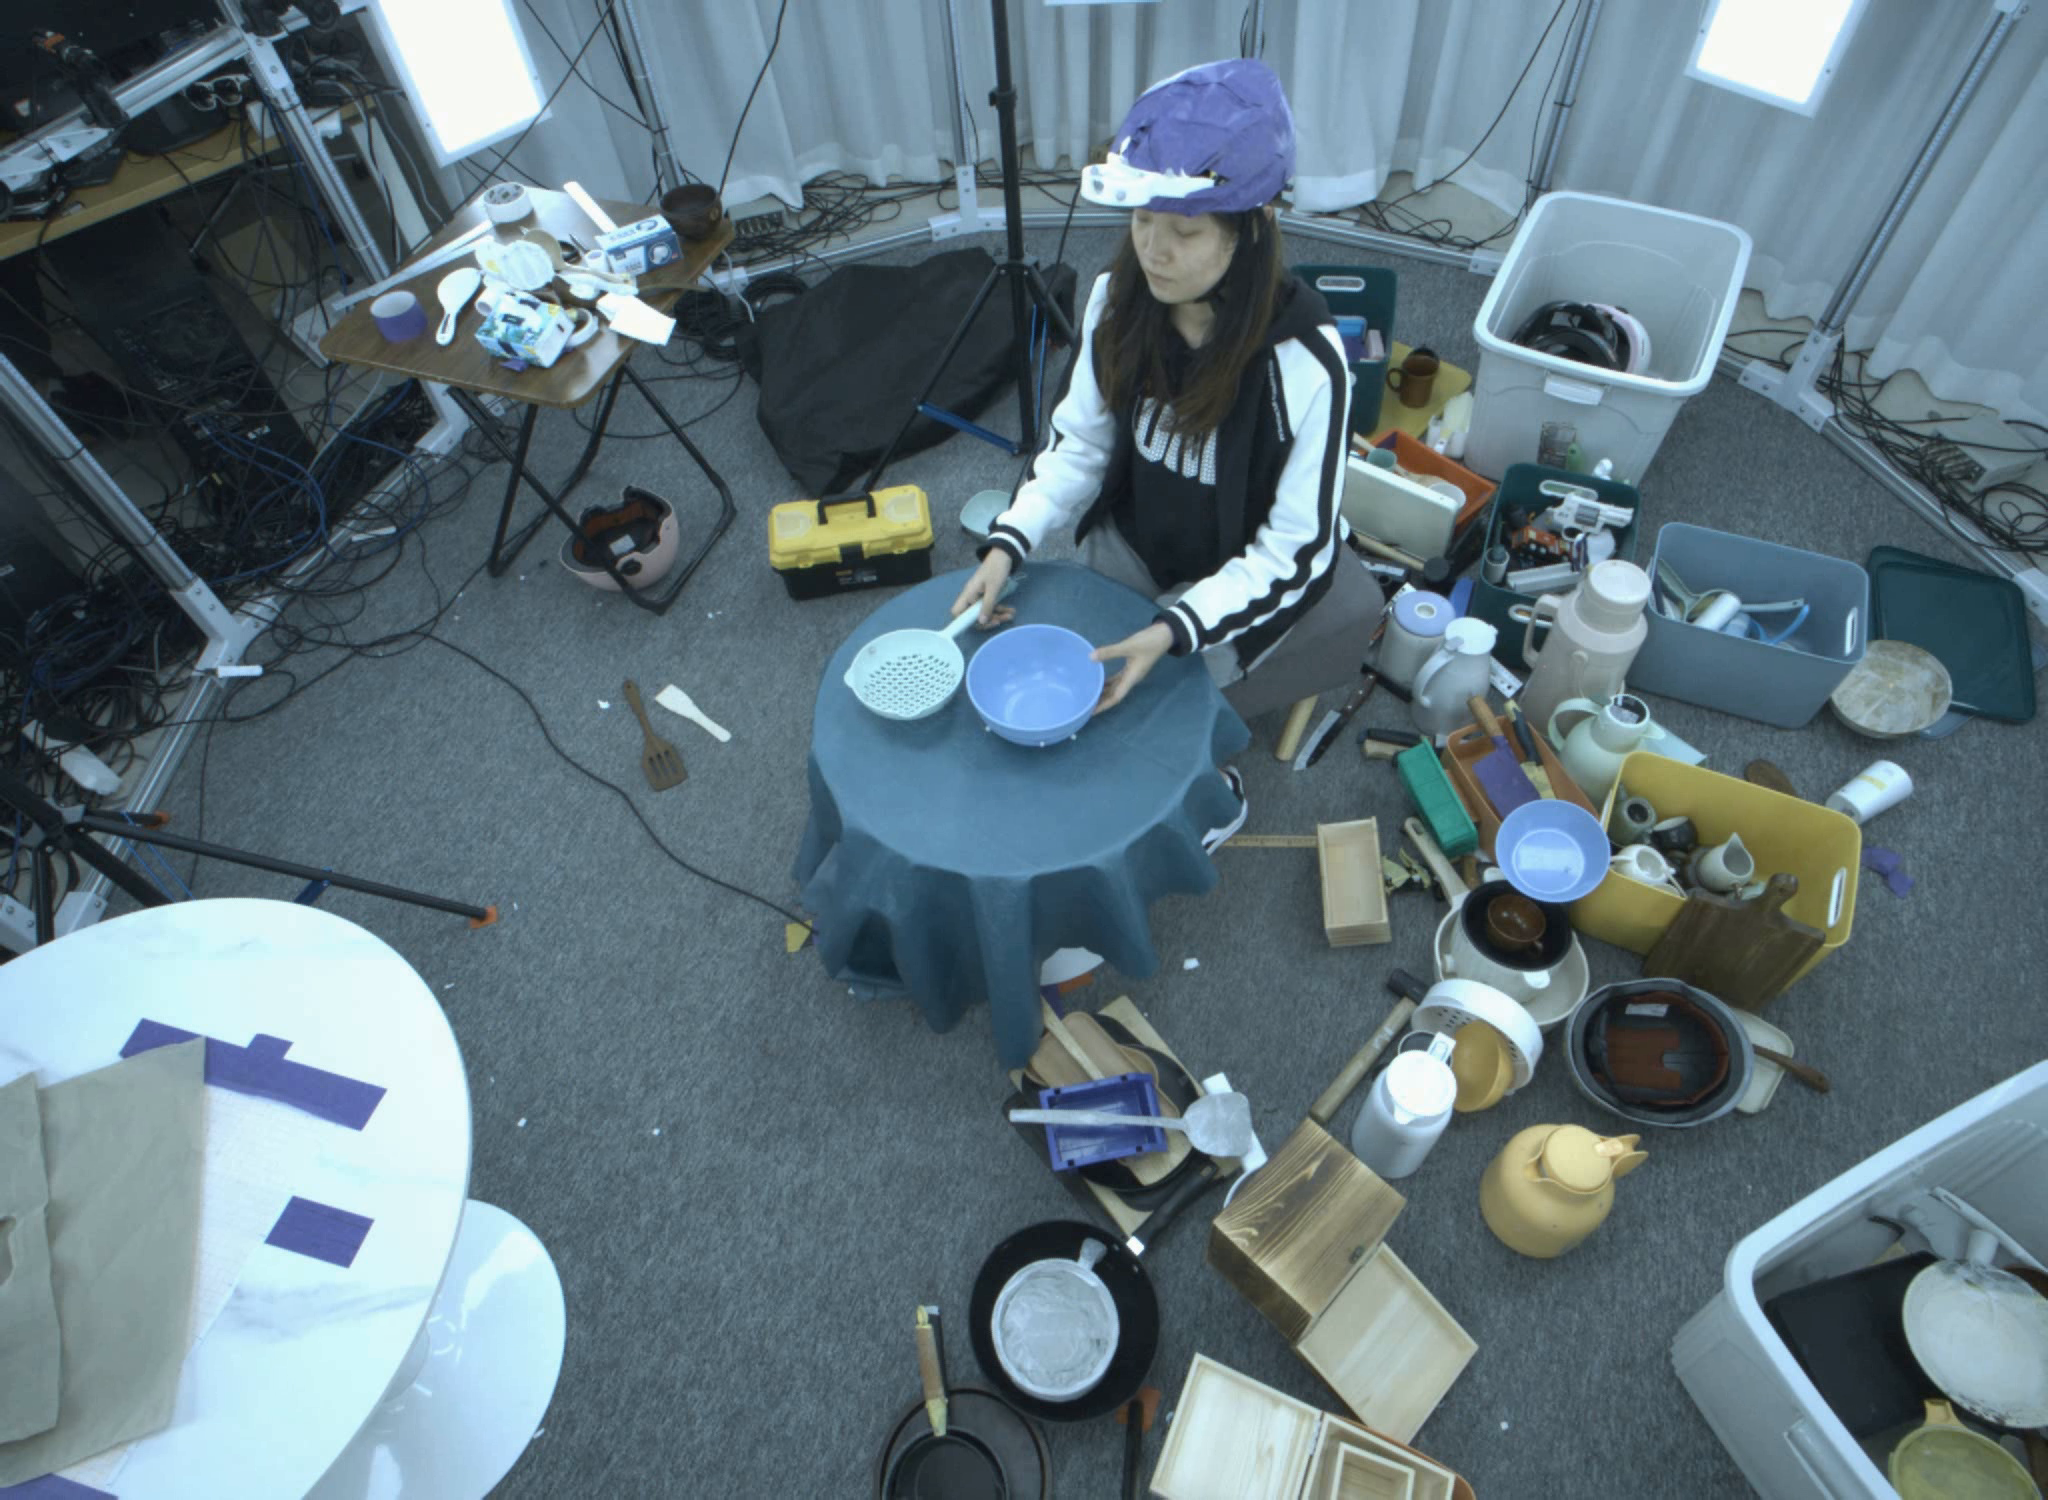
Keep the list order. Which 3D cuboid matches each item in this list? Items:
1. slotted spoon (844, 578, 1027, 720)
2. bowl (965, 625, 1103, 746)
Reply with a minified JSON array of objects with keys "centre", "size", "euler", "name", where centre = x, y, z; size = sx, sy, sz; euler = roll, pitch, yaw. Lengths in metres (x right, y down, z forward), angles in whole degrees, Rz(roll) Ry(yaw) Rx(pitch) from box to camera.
[{"centre":[-0.113,-0.169,1.867],"size":[0.166,0.076,0.360],"euler":[30,64,23],"name":"slotted spoon"},{"centre":[0.017,-0.078,1.785],"size":[0.196,0.096,0.194],"euler":[-1,54,2],"name":"bowl"}]
